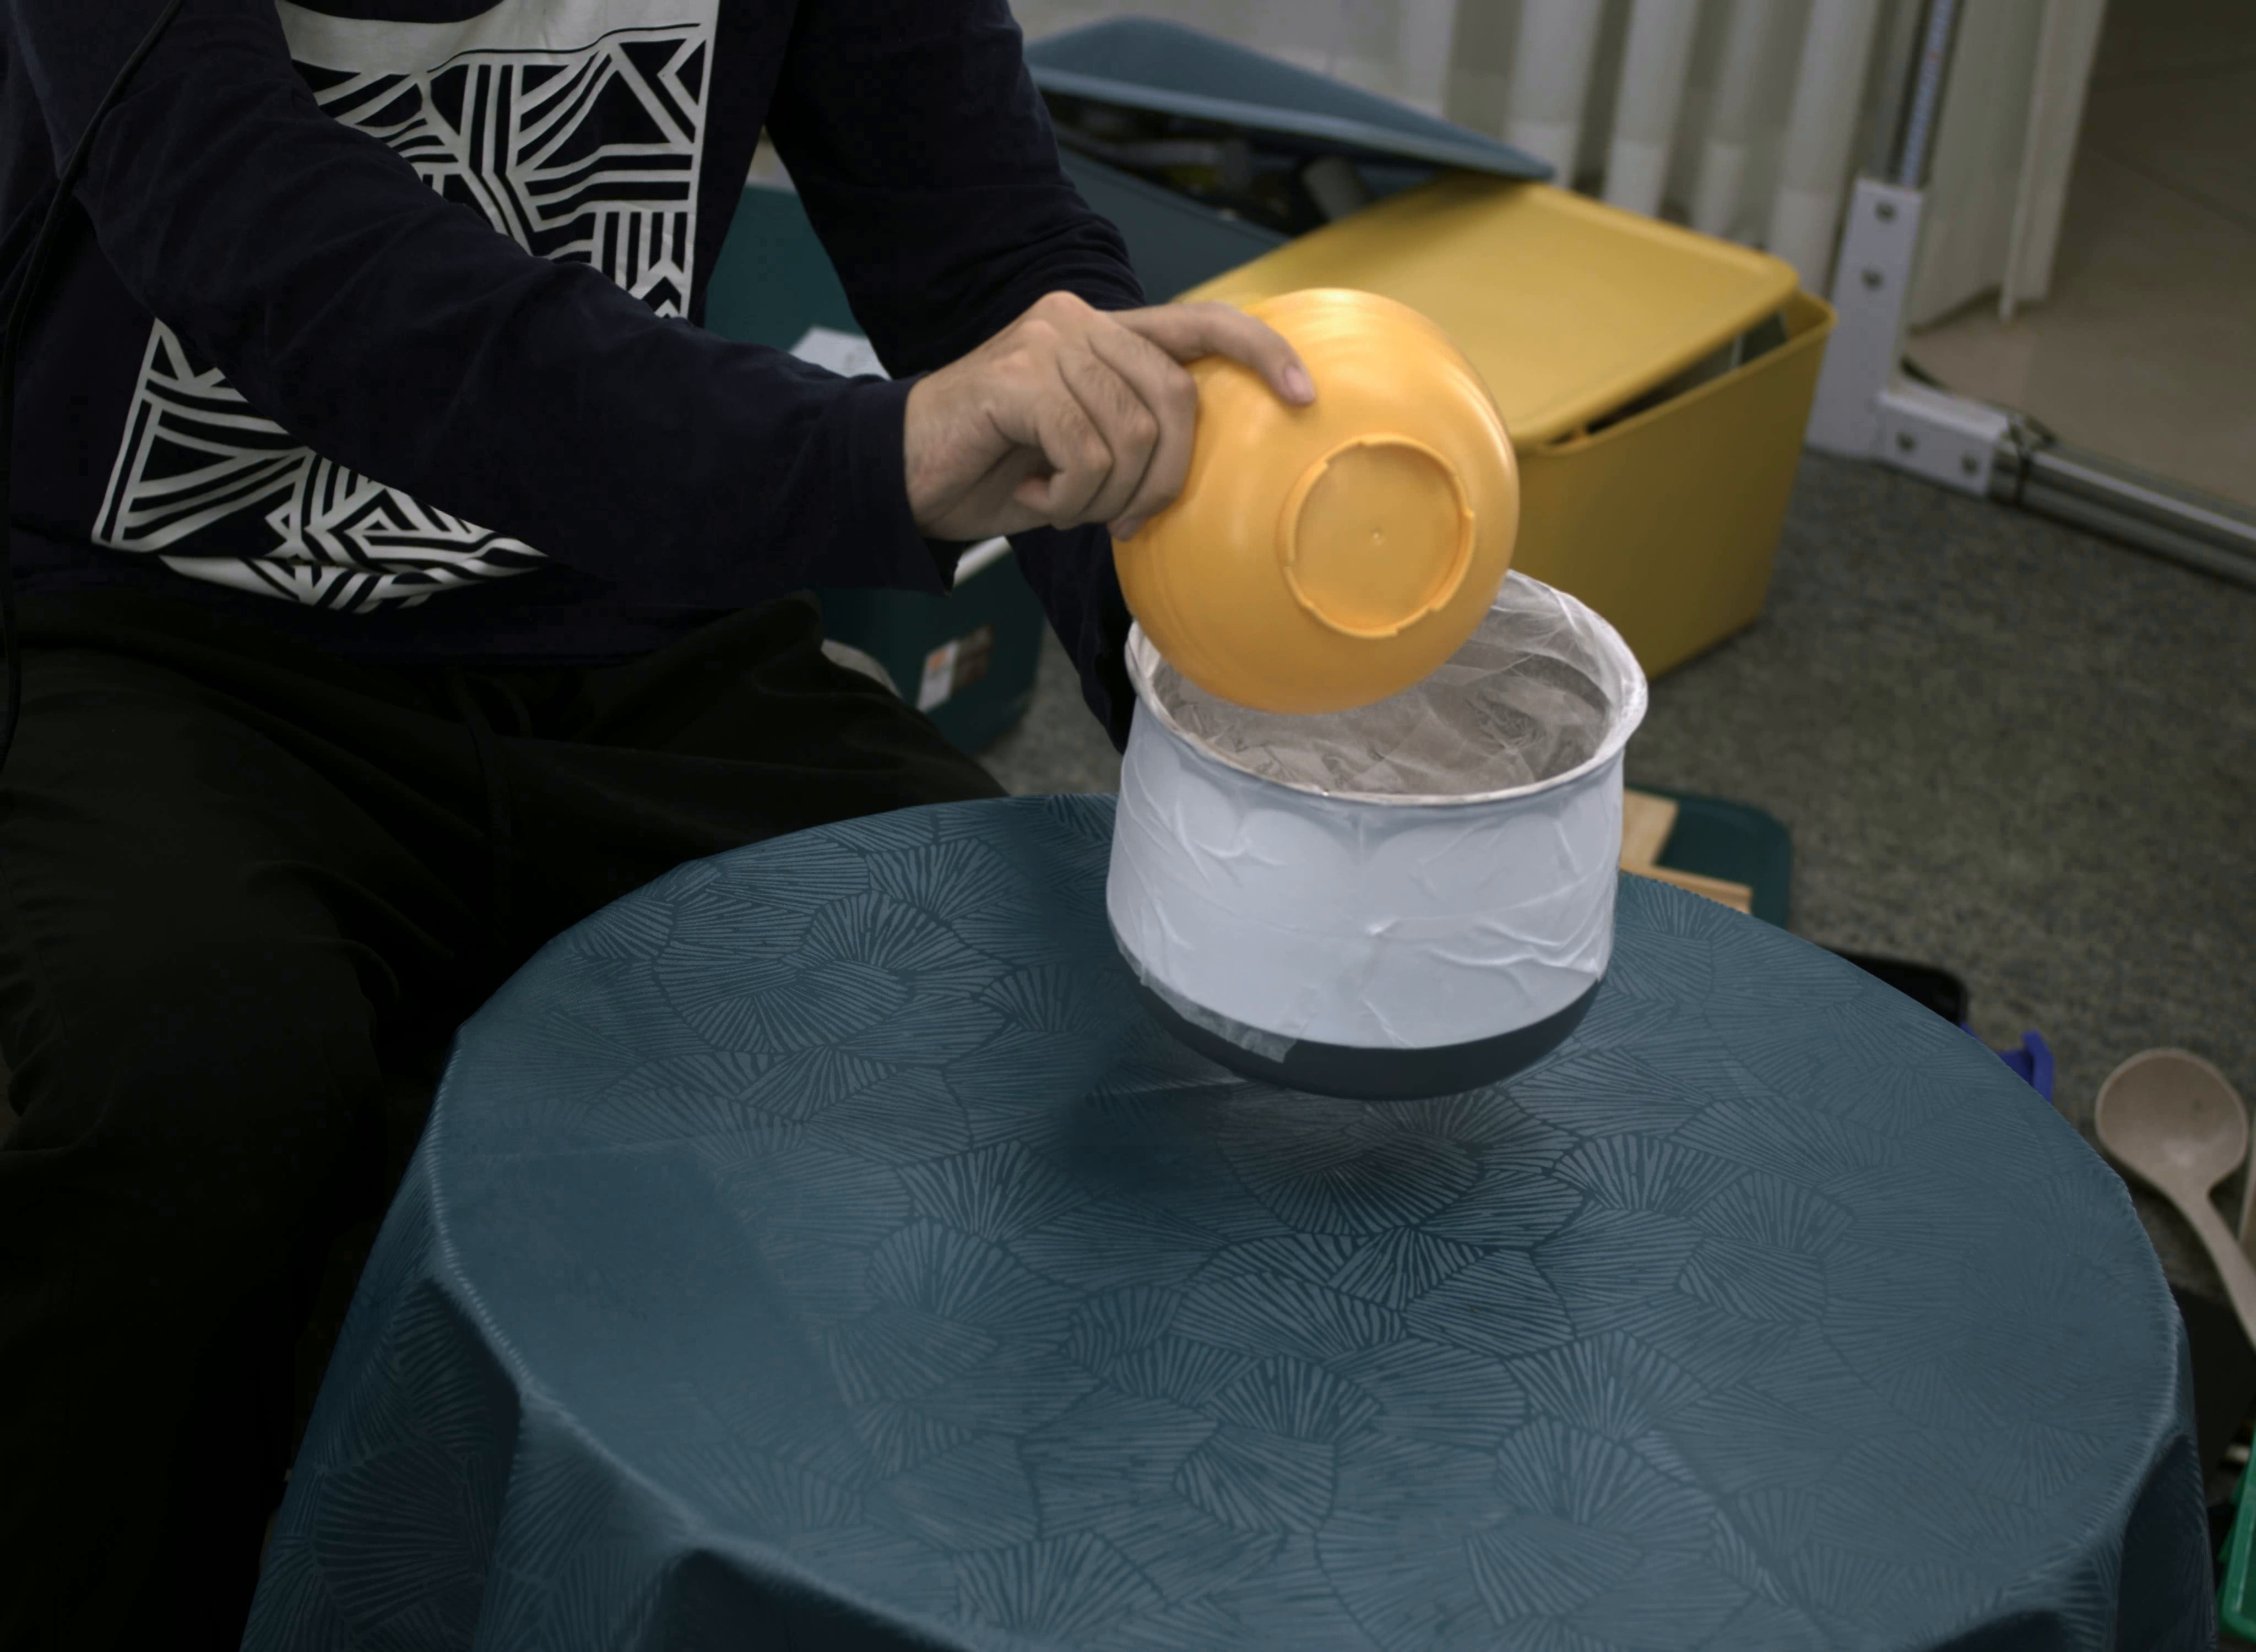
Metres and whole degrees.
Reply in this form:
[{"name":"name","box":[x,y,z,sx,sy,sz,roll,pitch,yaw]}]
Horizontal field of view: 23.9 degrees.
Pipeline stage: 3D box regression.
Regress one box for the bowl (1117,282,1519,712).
[{"name":"bowl","box":[0.073,-0.102,1.741,0.144,0.145,0.060,-4,15,-22]}]

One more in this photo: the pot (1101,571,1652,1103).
[{"name":"pot","box":[0.074,-0.014,1.848,0.177,0.136,0.236,-3,32,-17]}]
